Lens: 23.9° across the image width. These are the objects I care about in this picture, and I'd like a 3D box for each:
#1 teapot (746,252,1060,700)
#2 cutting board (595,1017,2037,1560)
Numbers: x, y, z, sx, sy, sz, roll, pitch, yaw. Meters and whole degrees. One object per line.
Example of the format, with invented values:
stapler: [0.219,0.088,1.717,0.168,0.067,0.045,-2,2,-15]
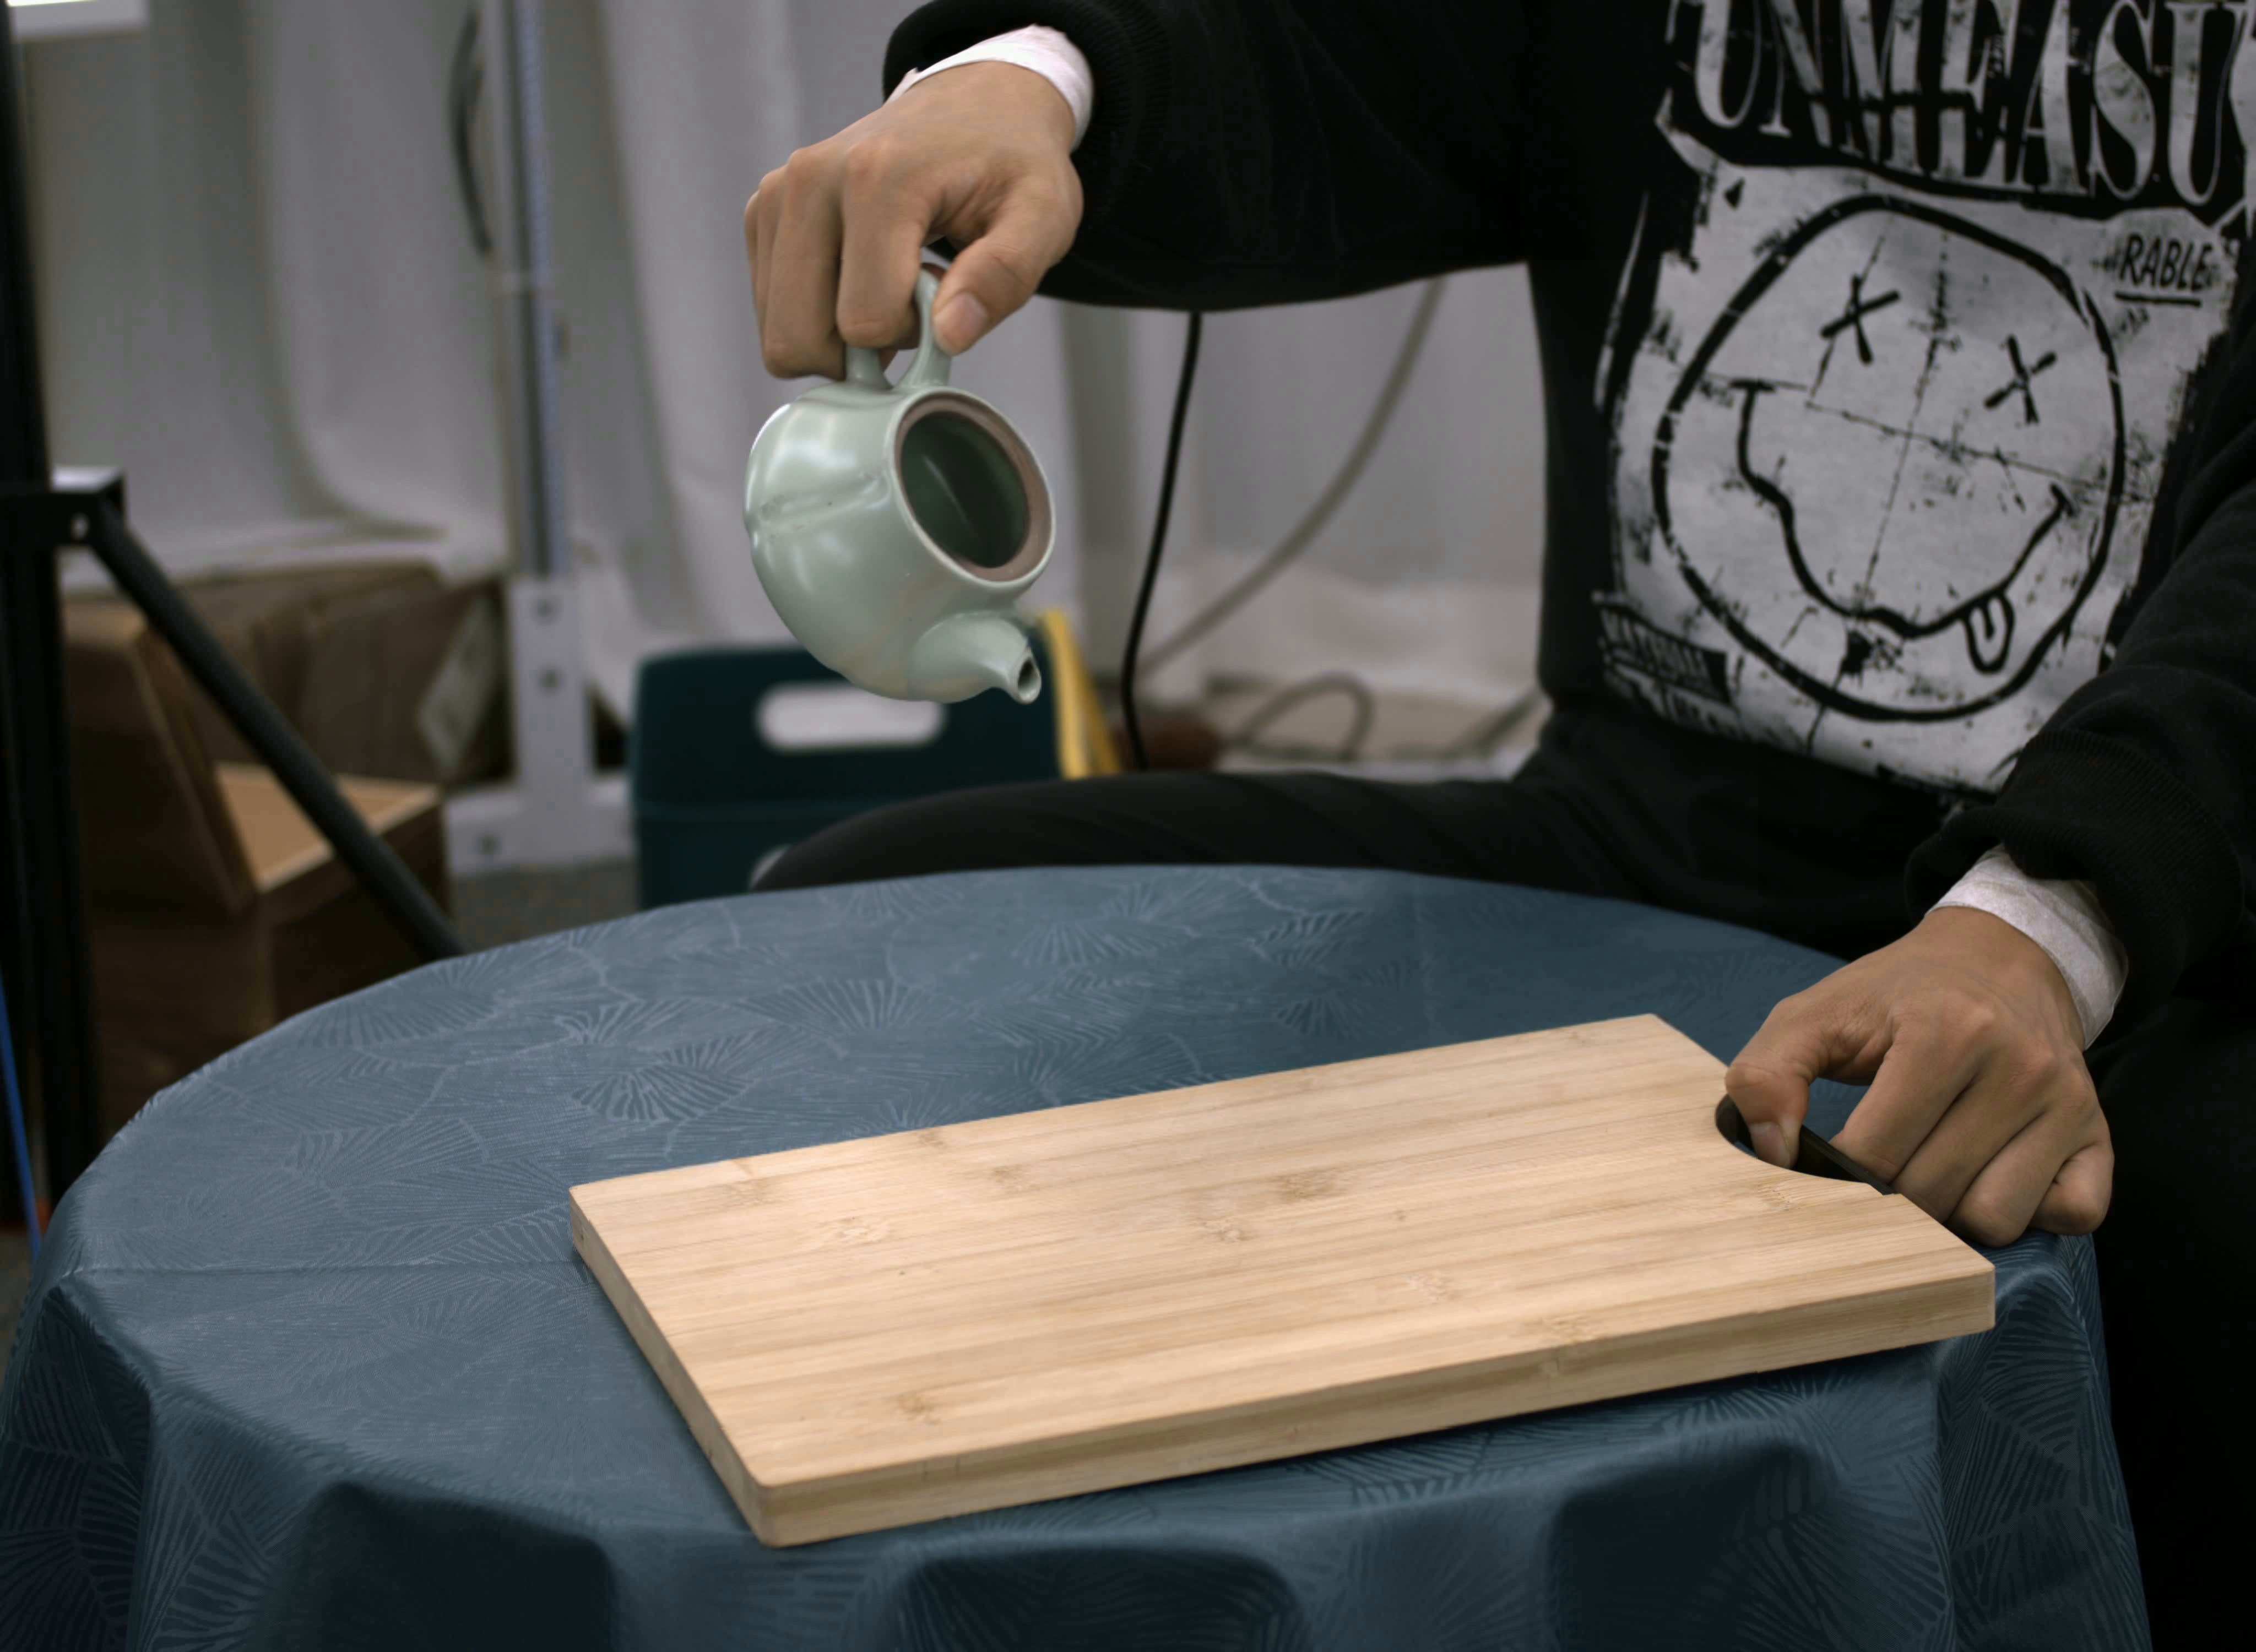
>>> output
teapot: [-0.060,-0.091,1.498,0.093,0.138,0.062,-1,-18,-44]
cutting board: [0.041,0.119,1.464,0.343,0.023,0.255,-9,17,-15]
